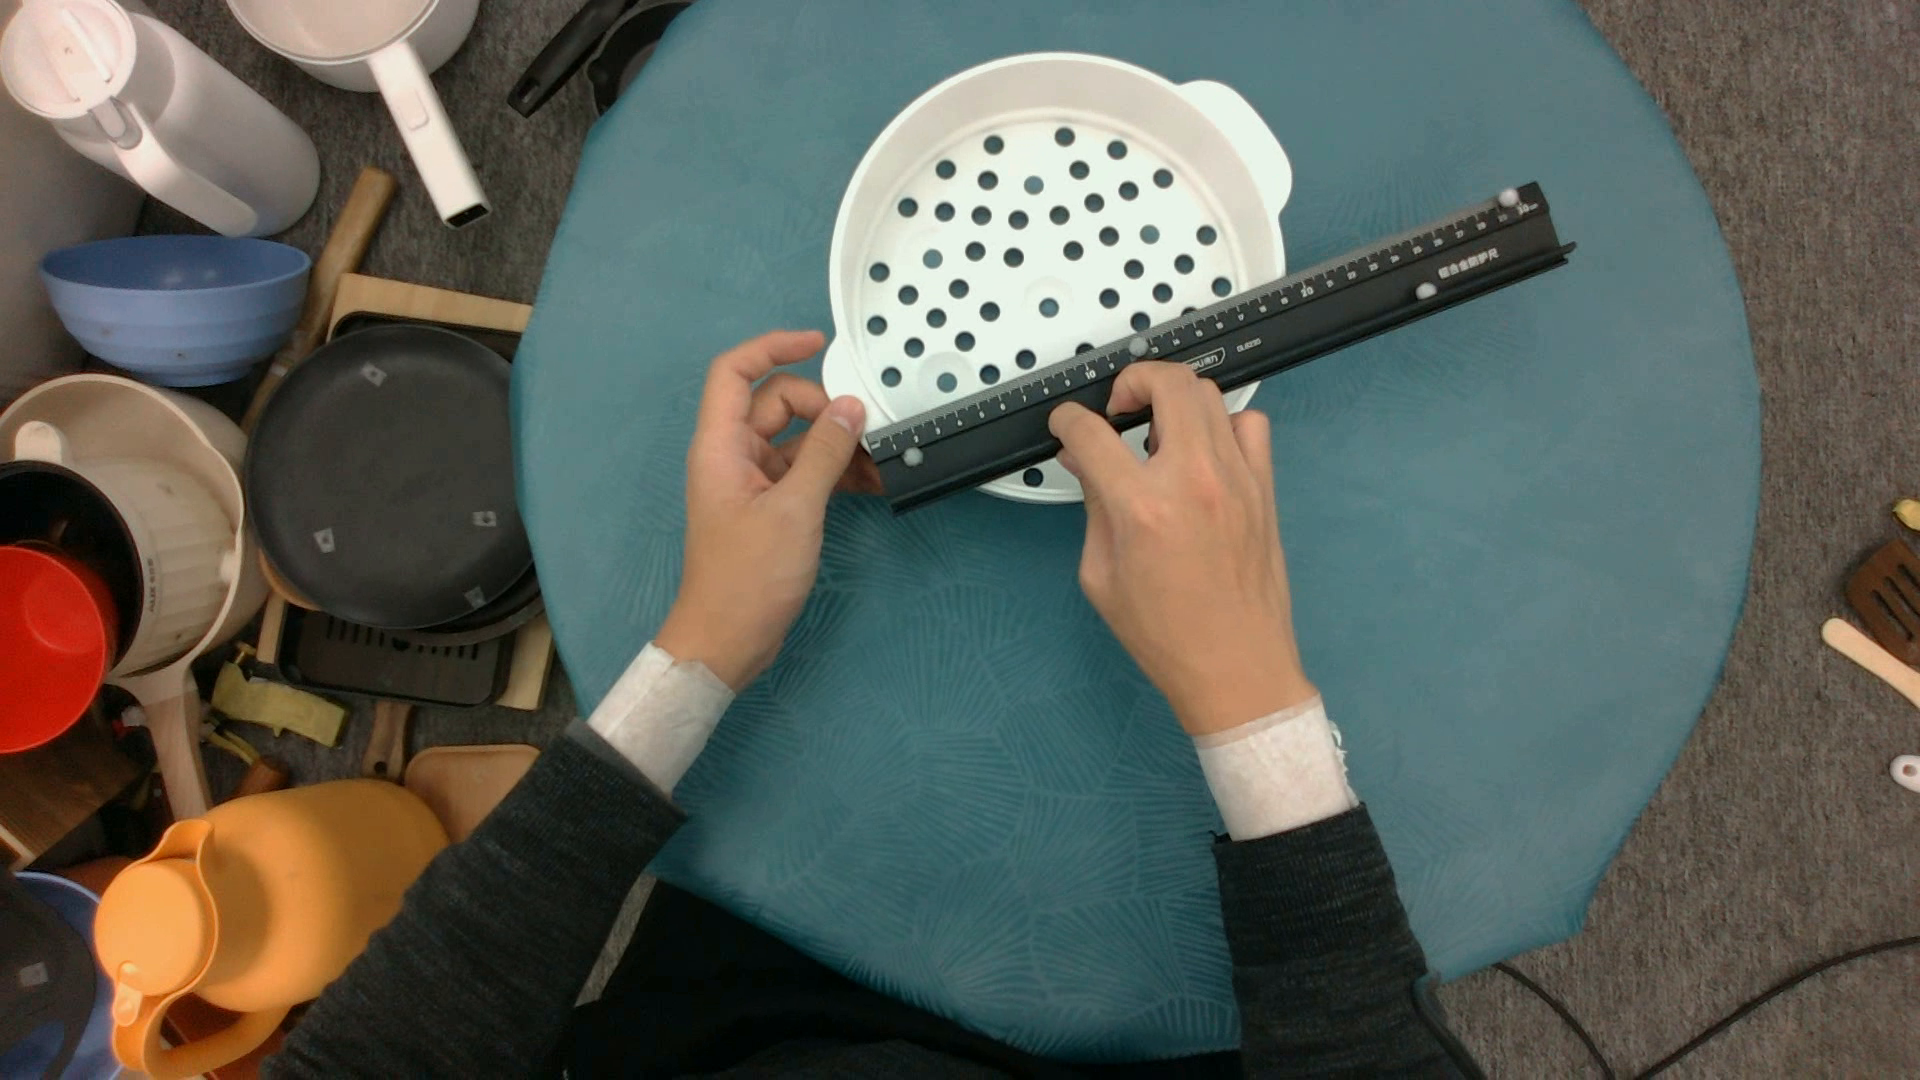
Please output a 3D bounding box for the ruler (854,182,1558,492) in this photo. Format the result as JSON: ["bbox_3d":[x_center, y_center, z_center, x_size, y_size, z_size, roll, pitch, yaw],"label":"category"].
[{"bbox_3d":[0.107,-0.089,0.590,0.313,0.017,0.039,-19,92,-3],"label":"ruler"}]

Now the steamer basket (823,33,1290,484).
[{"bbox_3d":[0.043,-0.125,0.634,0.231,0.069,0.202,-36,87,-5],"label":"steamer basket"}]
